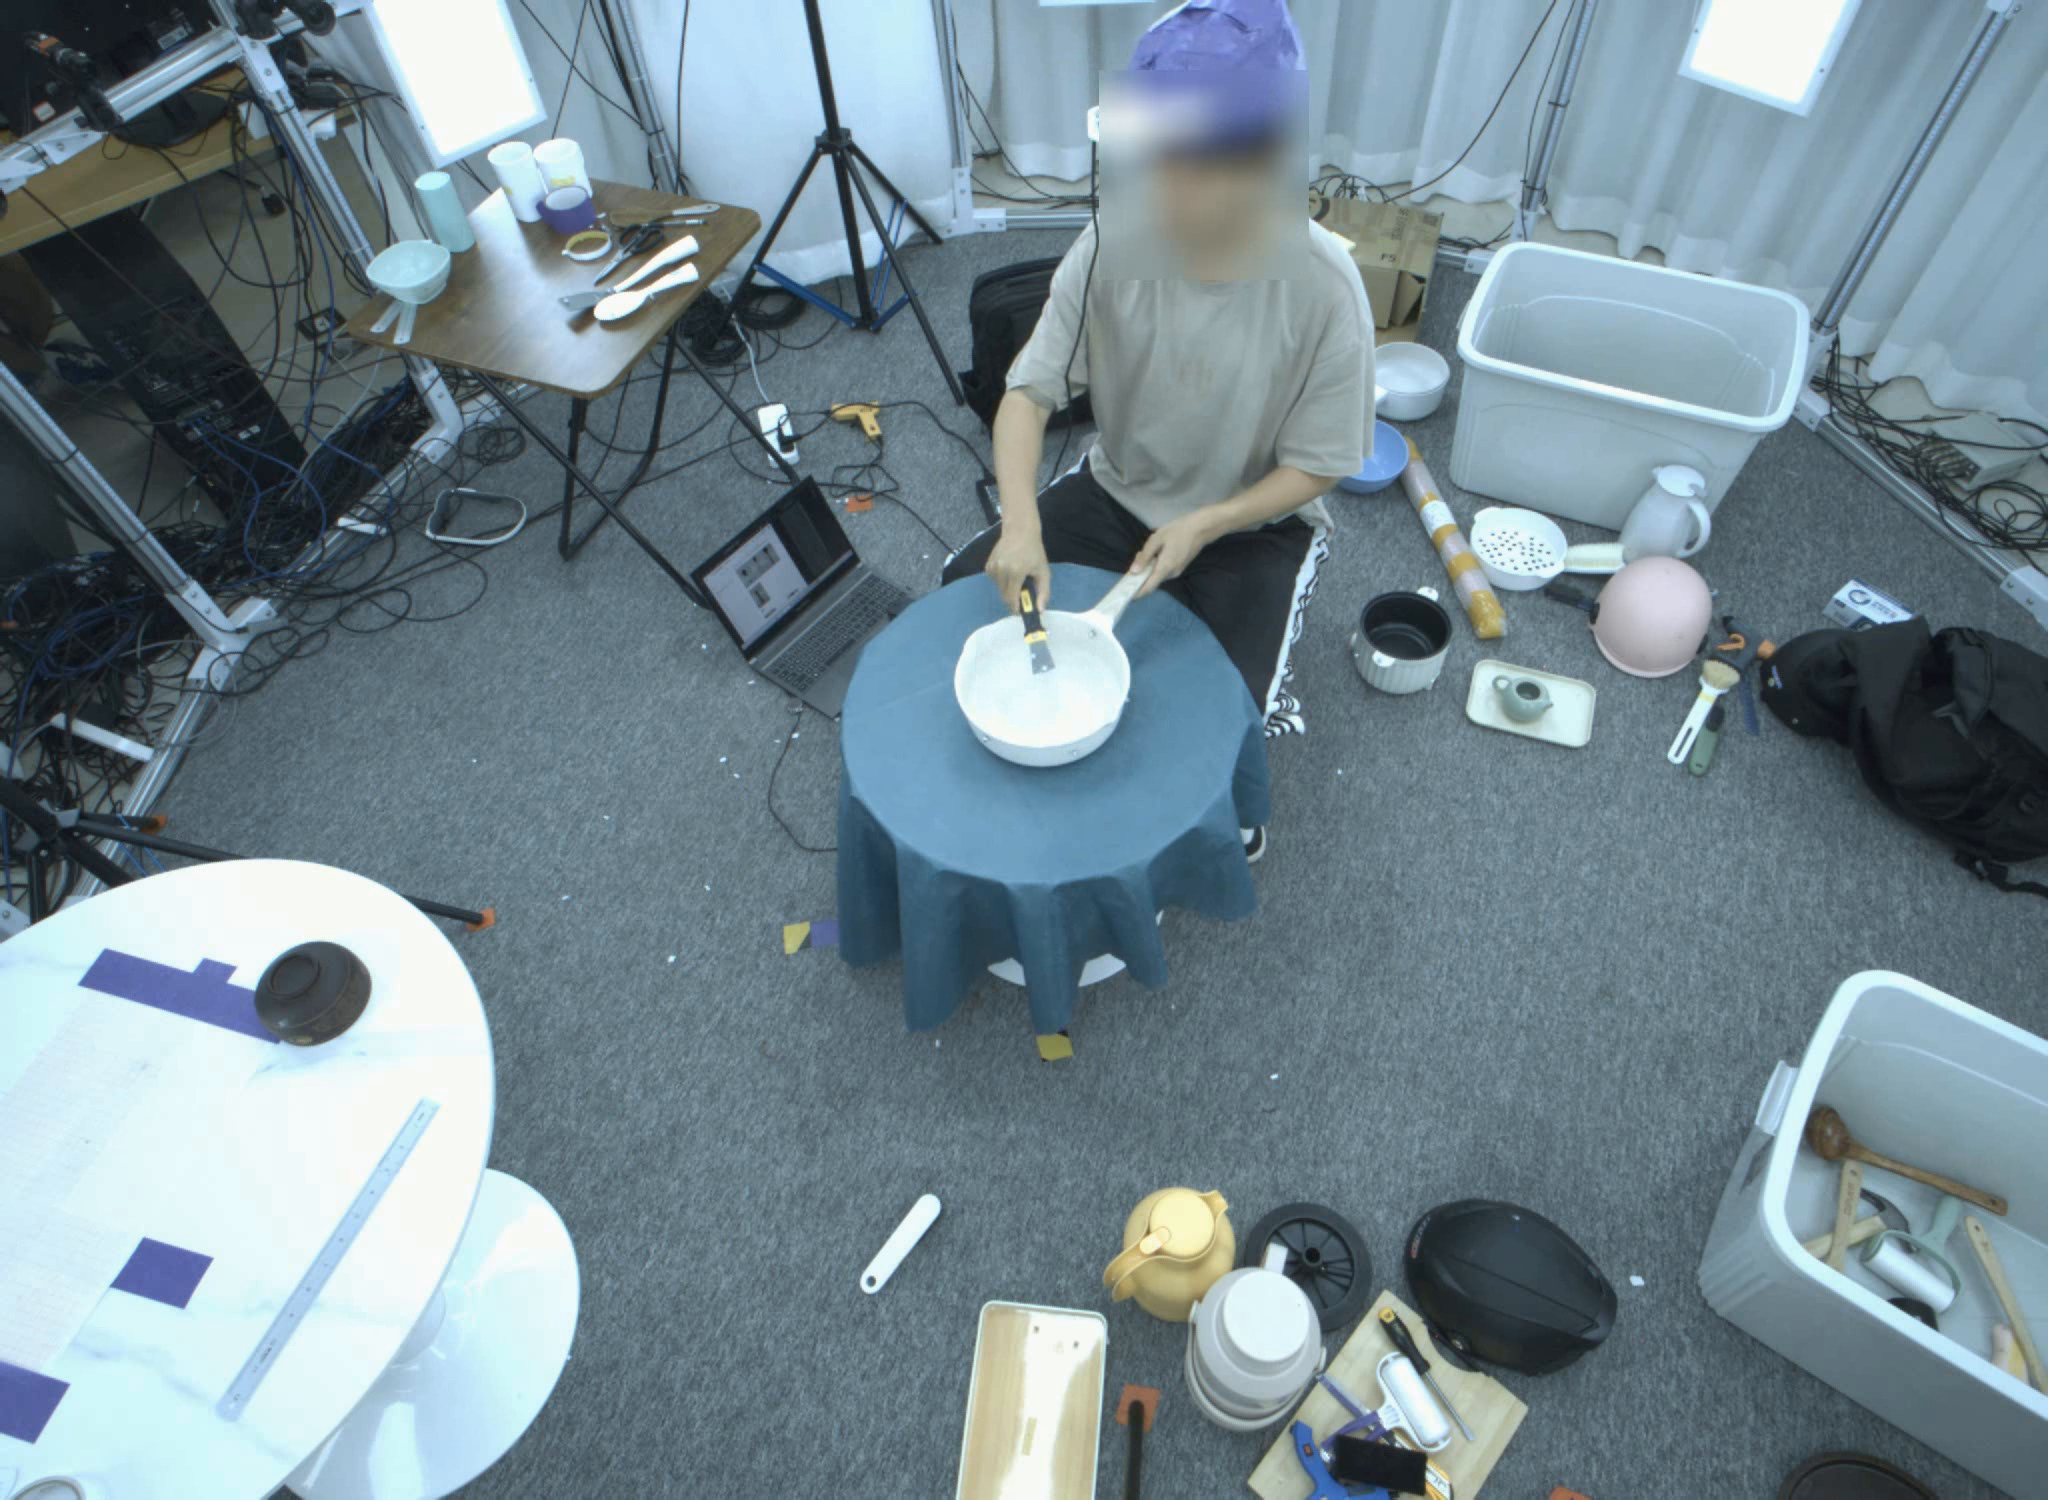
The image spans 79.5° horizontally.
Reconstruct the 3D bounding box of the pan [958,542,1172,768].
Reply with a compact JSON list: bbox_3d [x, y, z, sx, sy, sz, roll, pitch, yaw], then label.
[{"bbox_3d":[0.091,-0.145,1.826,0.258,0.103,0.437,31,61,25],"label":"pan"}]

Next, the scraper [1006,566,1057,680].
[{"bbox_3d":[0.007,-0.182,1.742,0.038,0.015,0.170,-19,78,14],"label":"scraper"}]
